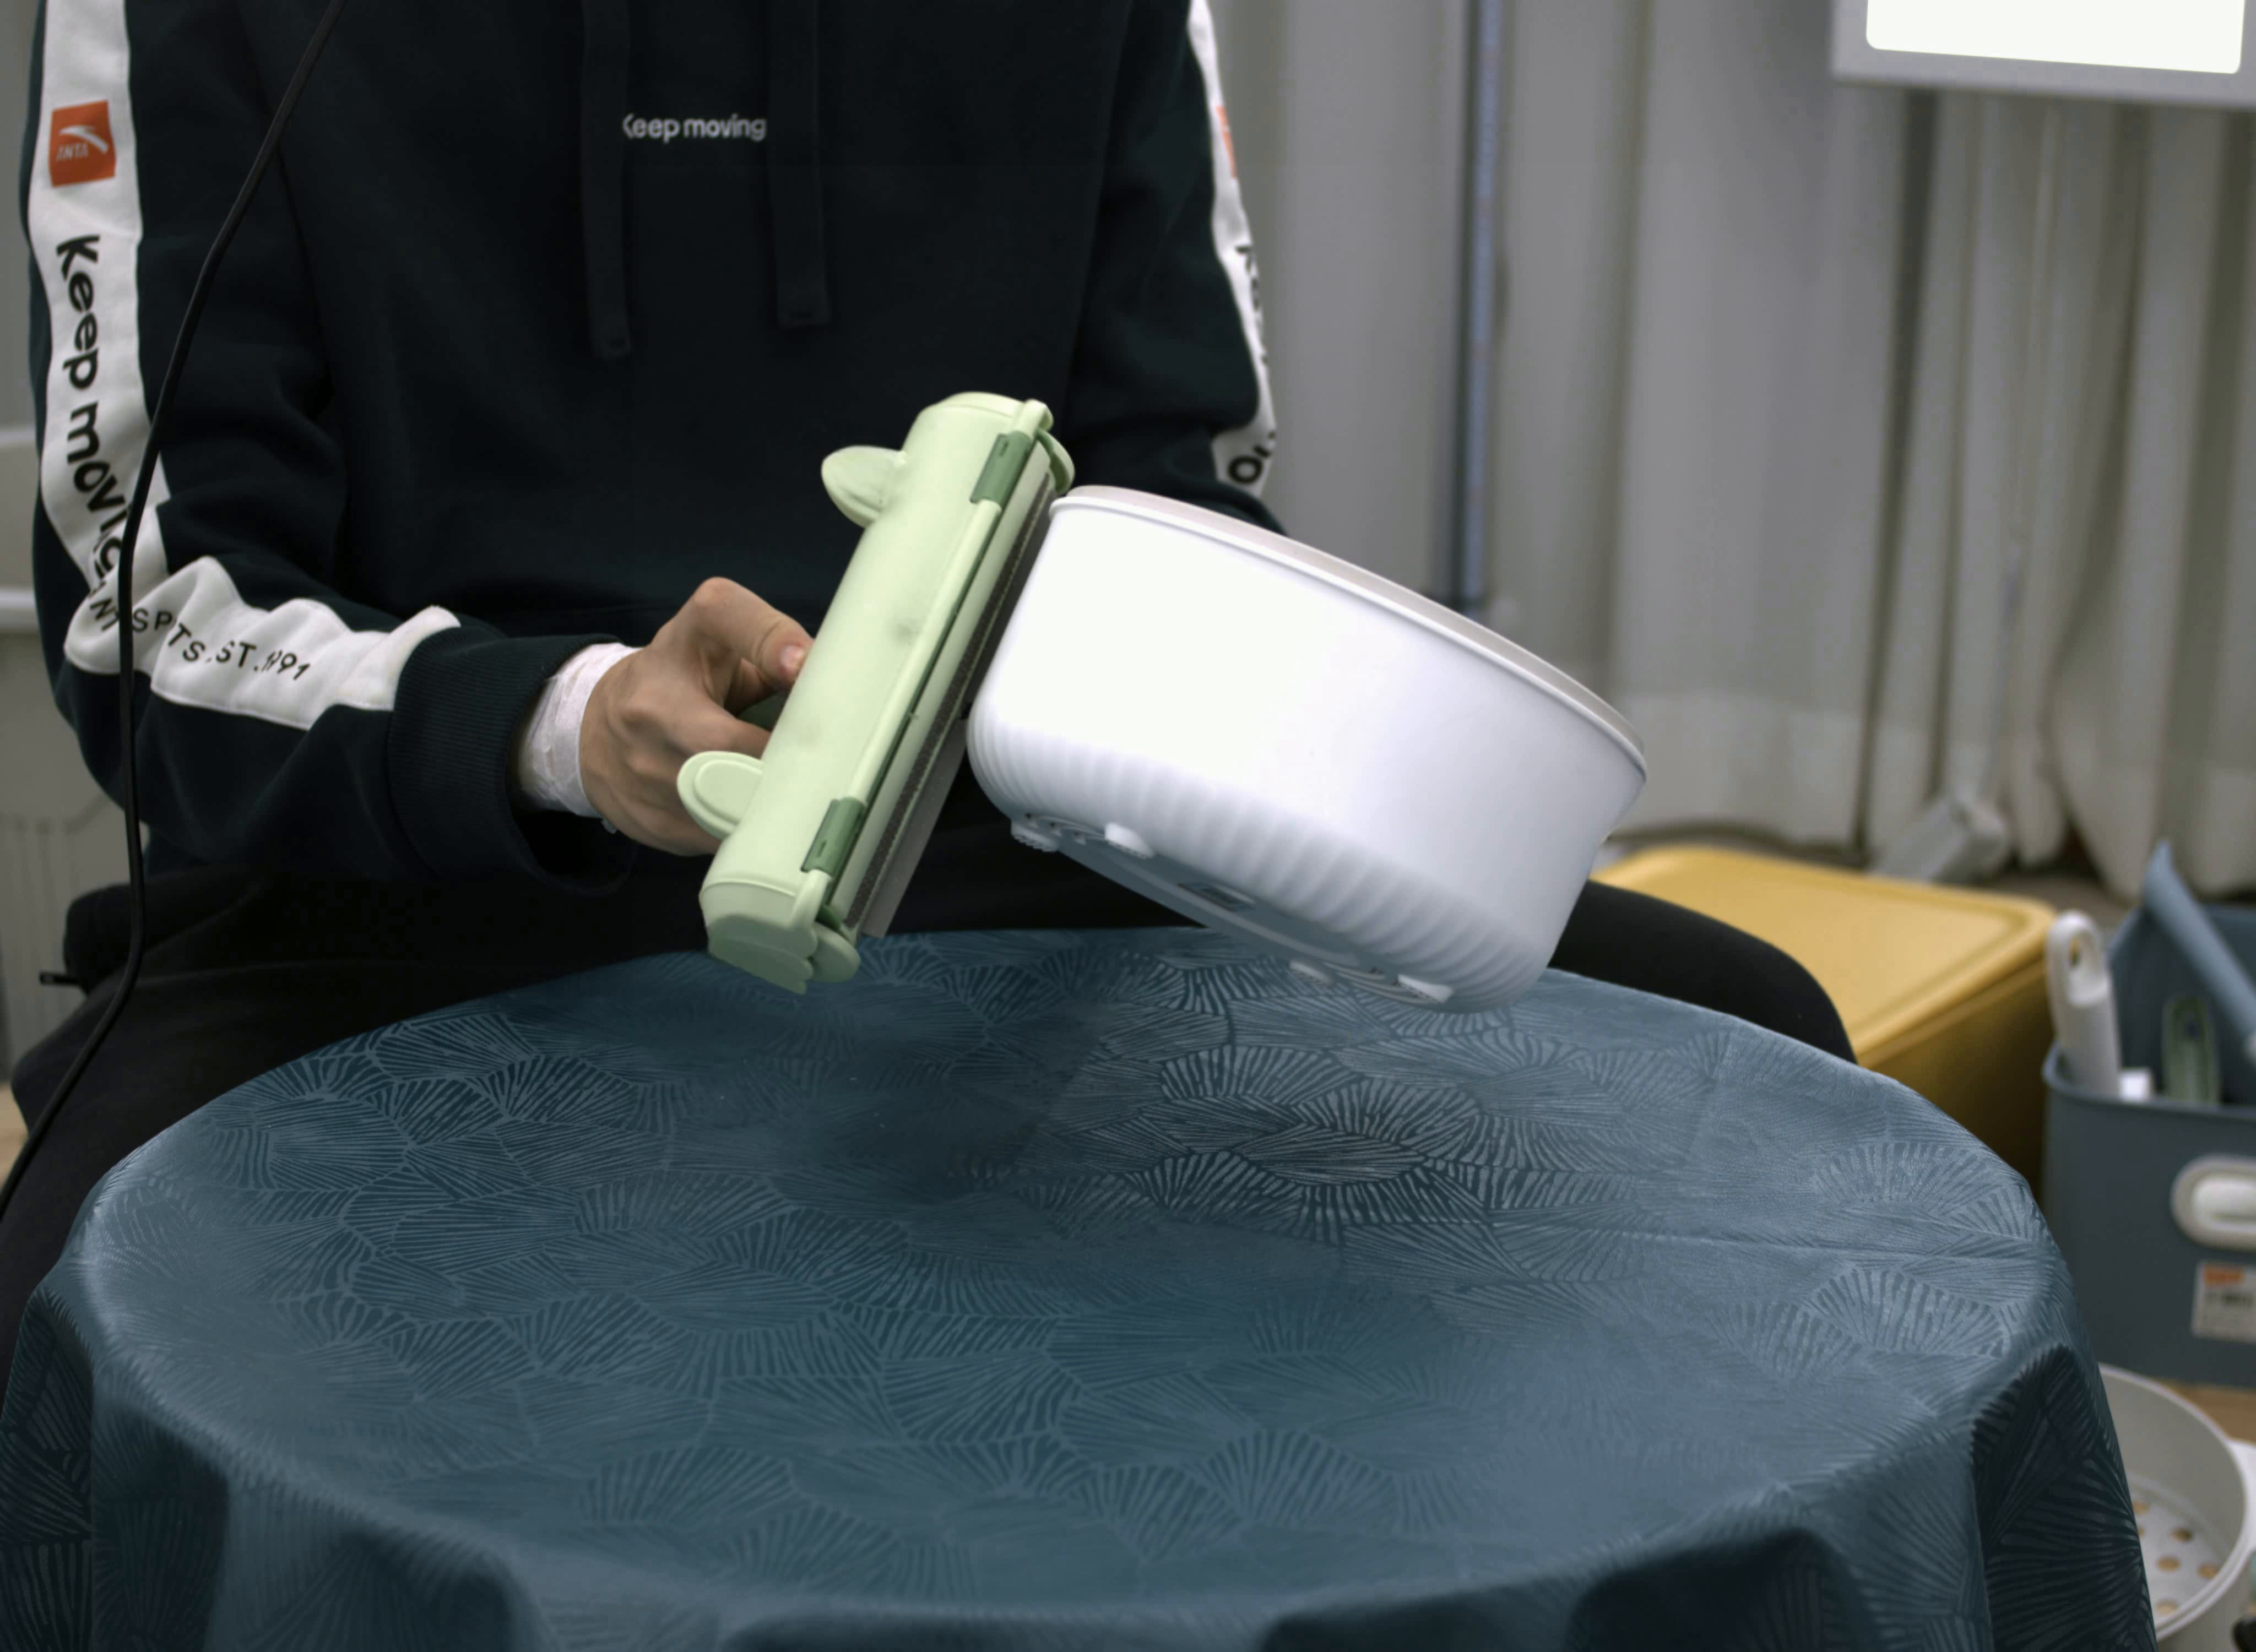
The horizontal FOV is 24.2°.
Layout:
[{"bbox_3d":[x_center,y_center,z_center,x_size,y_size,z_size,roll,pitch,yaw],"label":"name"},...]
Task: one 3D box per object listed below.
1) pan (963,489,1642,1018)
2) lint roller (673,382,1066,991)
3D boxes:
[{"bbox_3d":[0.027,-0.016,1.688,0.202,0.102,0.352,25,-7,-16],"label":"pan"},{"bbox_3d":[-0.111,-0.040,1.662,0.083,0.198,0.182,34,-26,-26],"label":"lint roller"}]
